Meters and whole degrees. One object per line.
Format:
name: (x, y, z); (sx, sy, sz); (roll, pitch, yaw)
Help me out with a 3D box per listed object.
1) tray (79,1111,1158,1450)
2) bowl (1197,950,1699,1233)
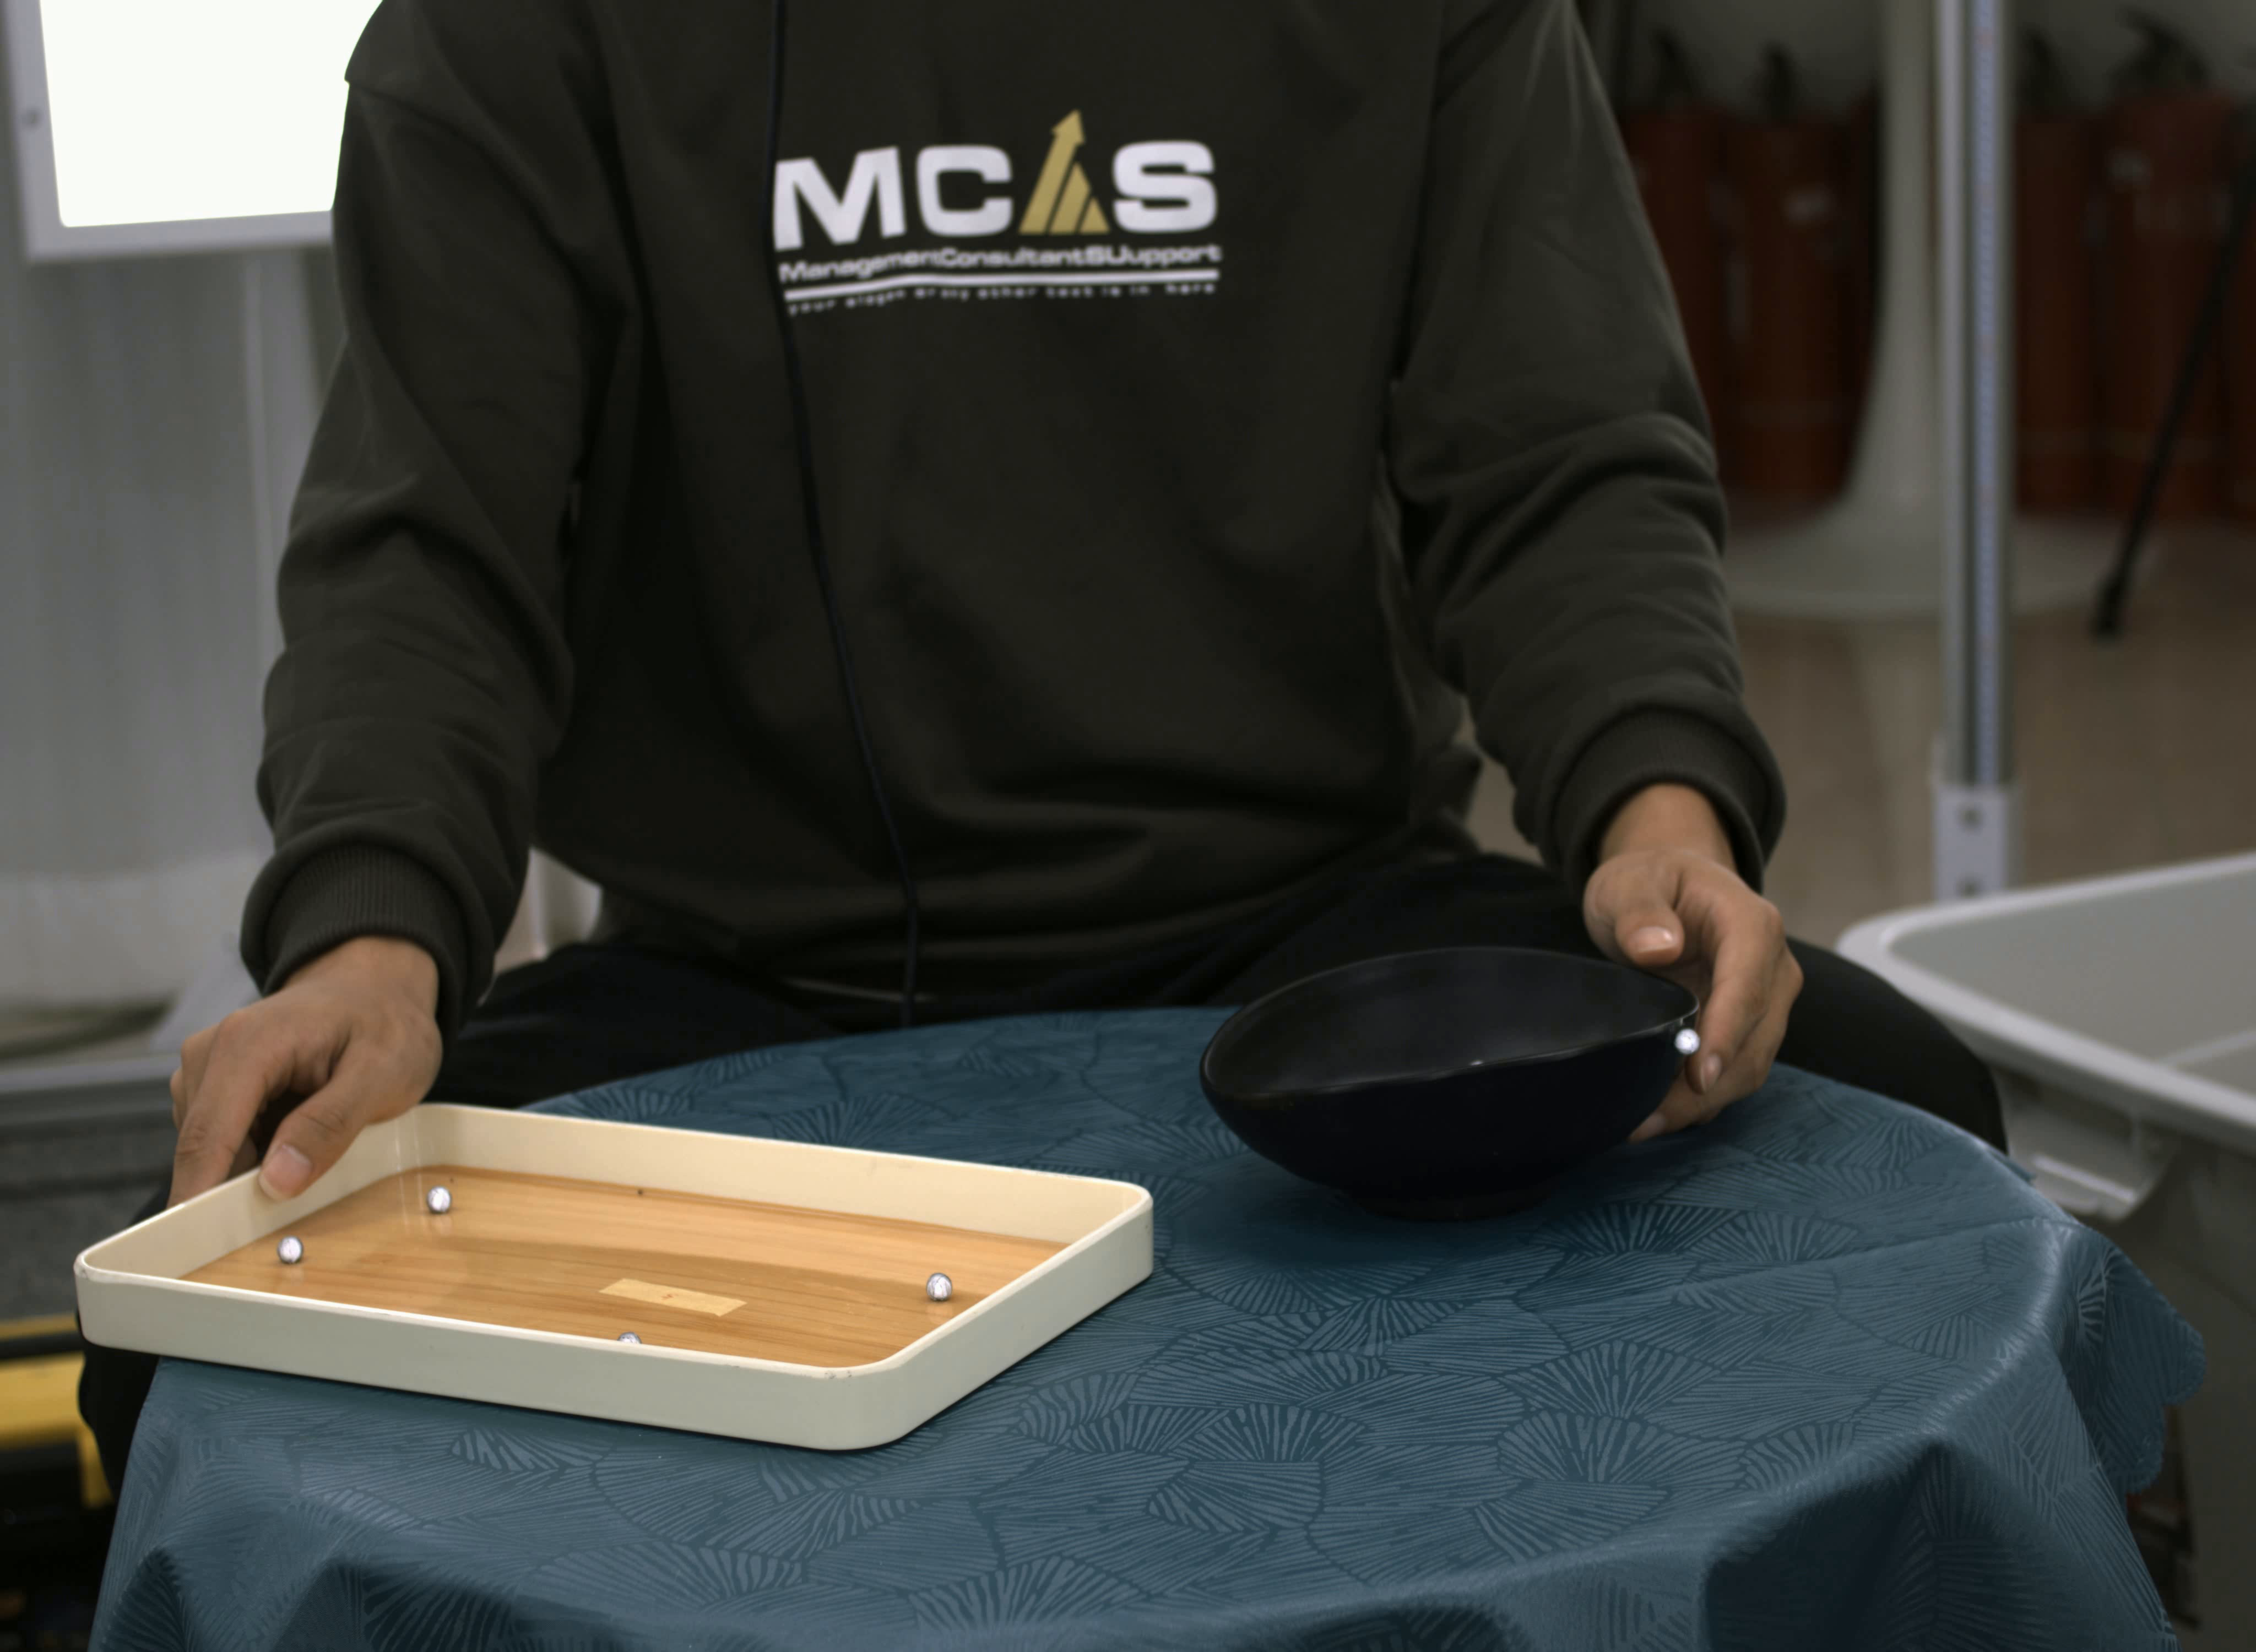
tray: (-0.157, 0.139, 1.690); (0.301, 0.028, 0.189); (4, 15, 29)
bowl: (0.107, 0.091, 1.745); (0.167, 0.067, 0.138); (-10, 13, -19)
